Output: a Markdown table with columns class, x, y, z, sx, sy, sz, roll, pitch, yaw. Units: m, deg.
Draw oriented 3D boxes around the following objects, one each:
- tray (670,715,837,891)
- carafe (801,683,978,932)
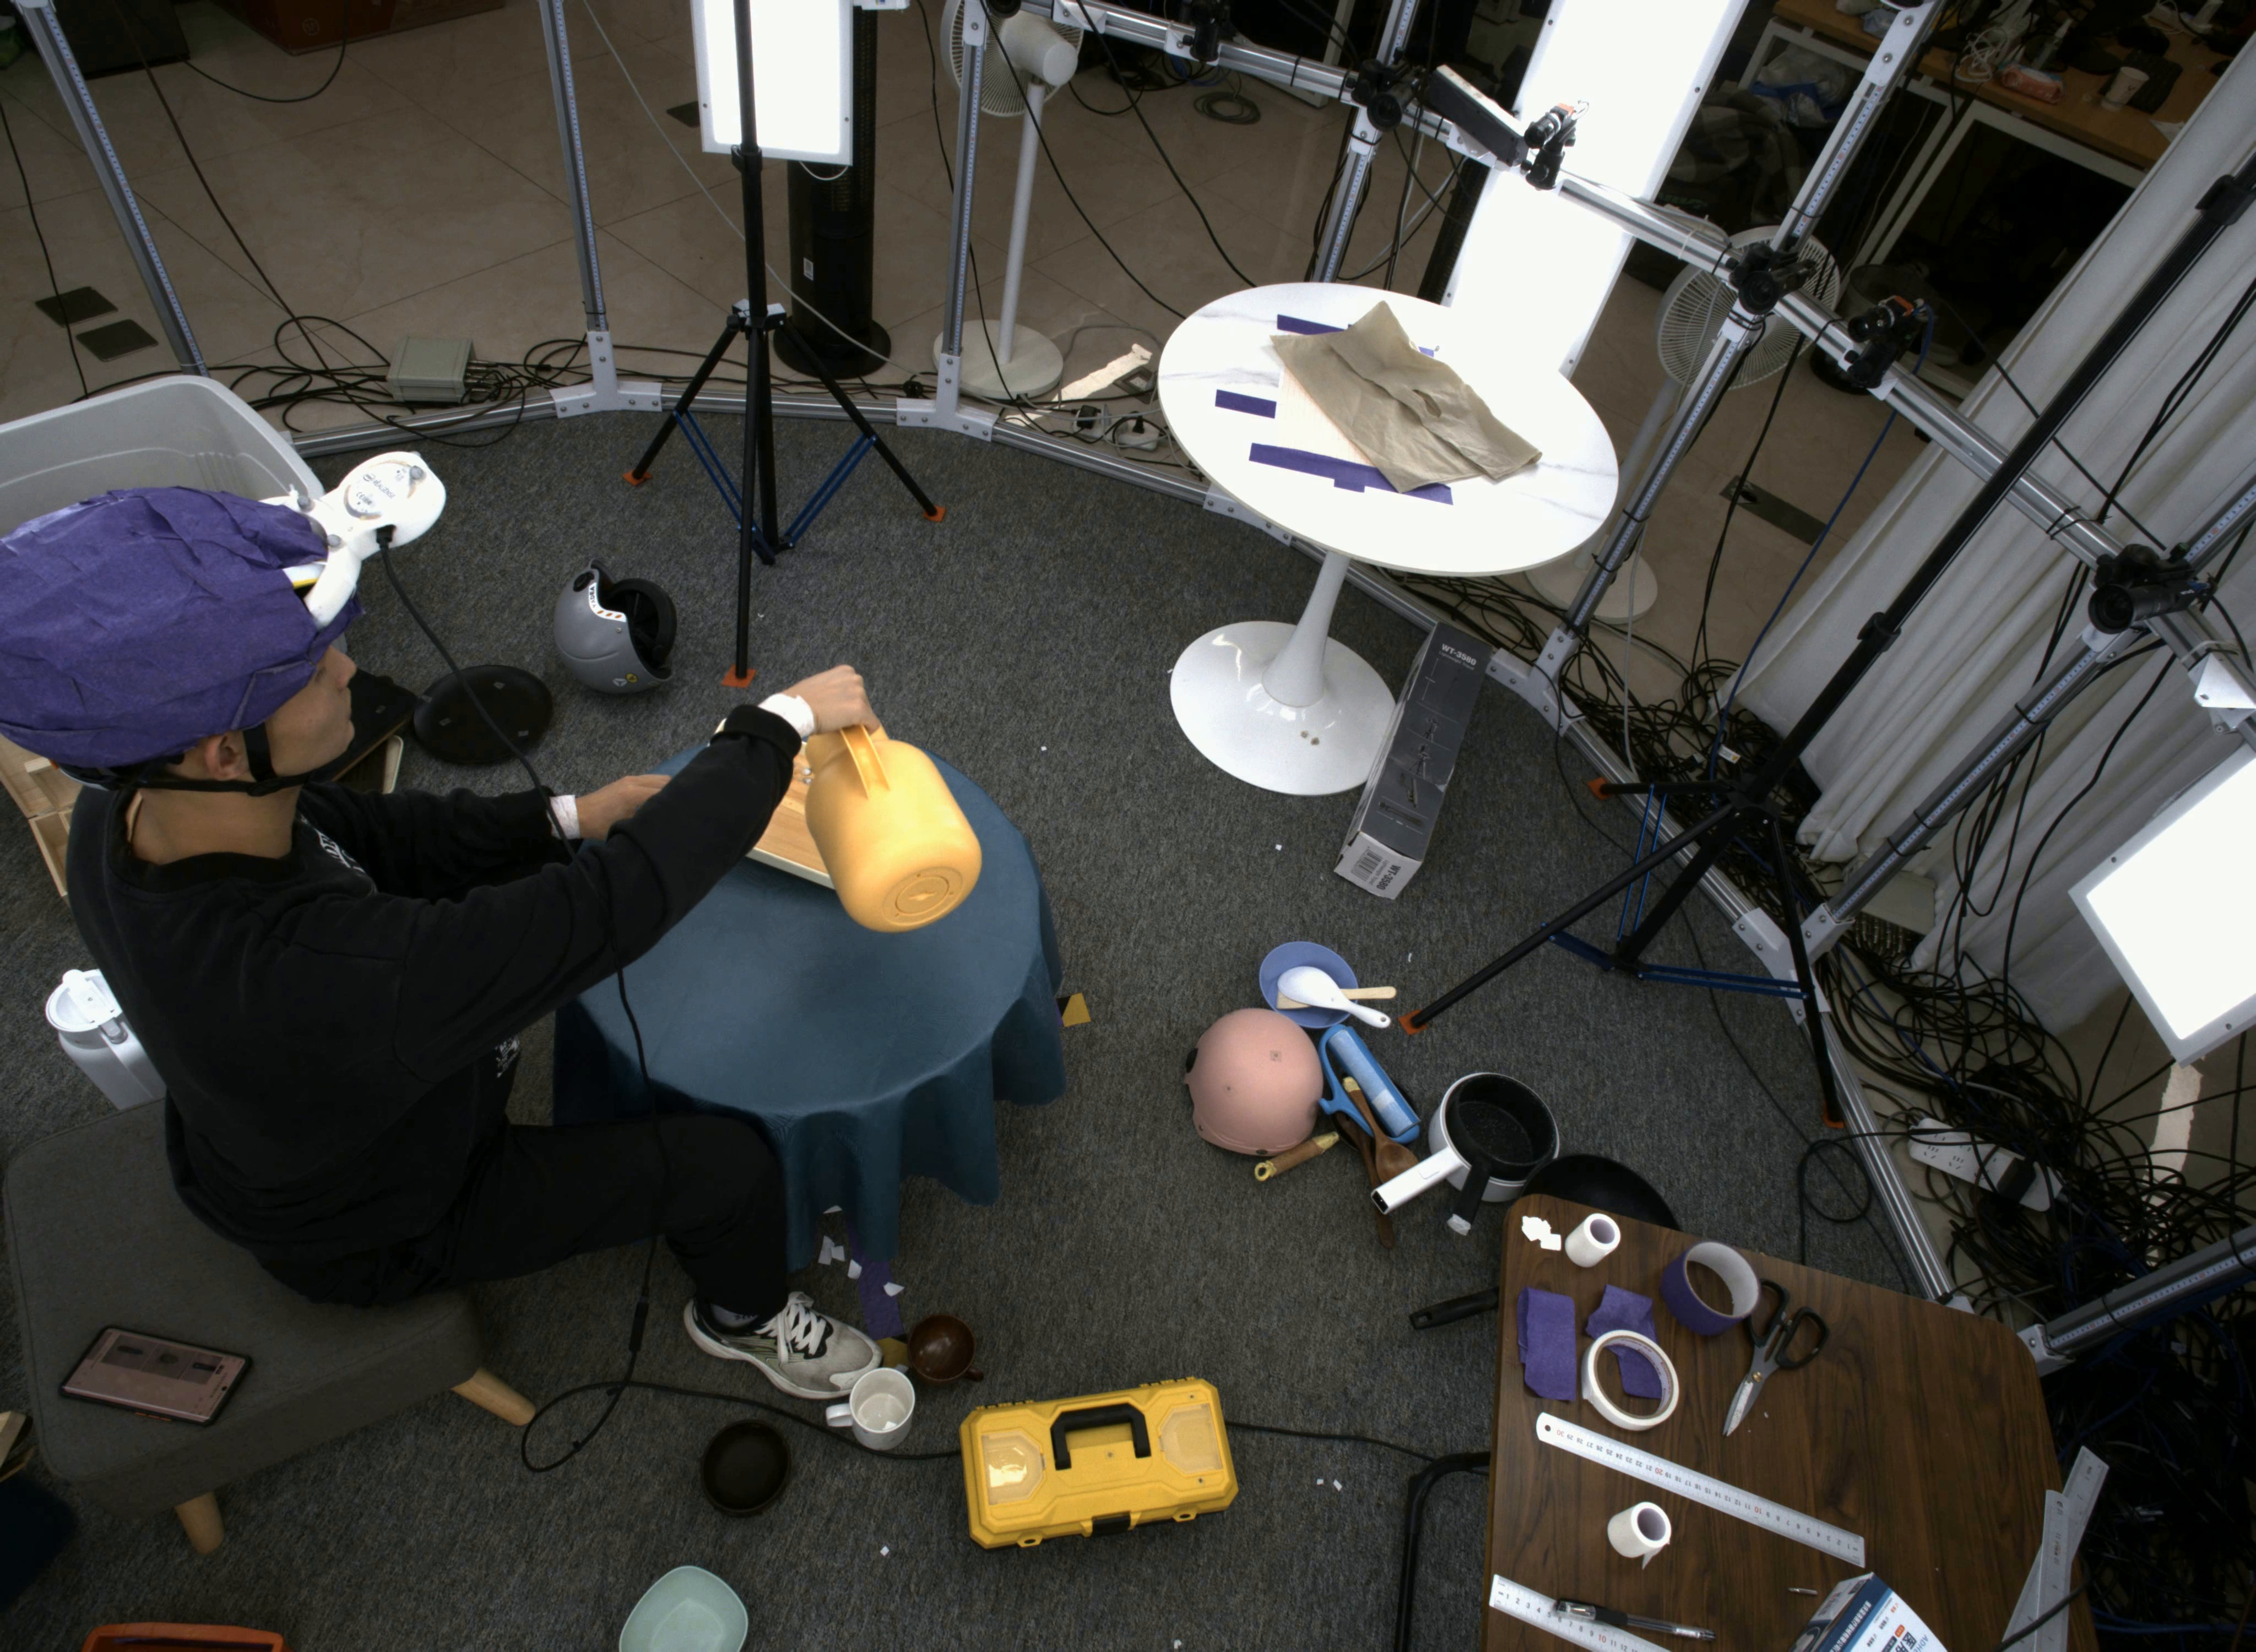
| class | x | y | z | sx | sy | sz | roll | pitch | yaw |
| --- | --- | --- | --- | --- | --- | --- | --- | --- | --- |
| tray | -0.422 | -0.023 | 1.691 | 0.301 | 0.027 | 0.189 | 22 | 50 | -10 |
| carafe | -0.286 | -0.031 | 1.441 | 0.163 | 0.209 | 0.253 | -27 | 58 | -12 |
